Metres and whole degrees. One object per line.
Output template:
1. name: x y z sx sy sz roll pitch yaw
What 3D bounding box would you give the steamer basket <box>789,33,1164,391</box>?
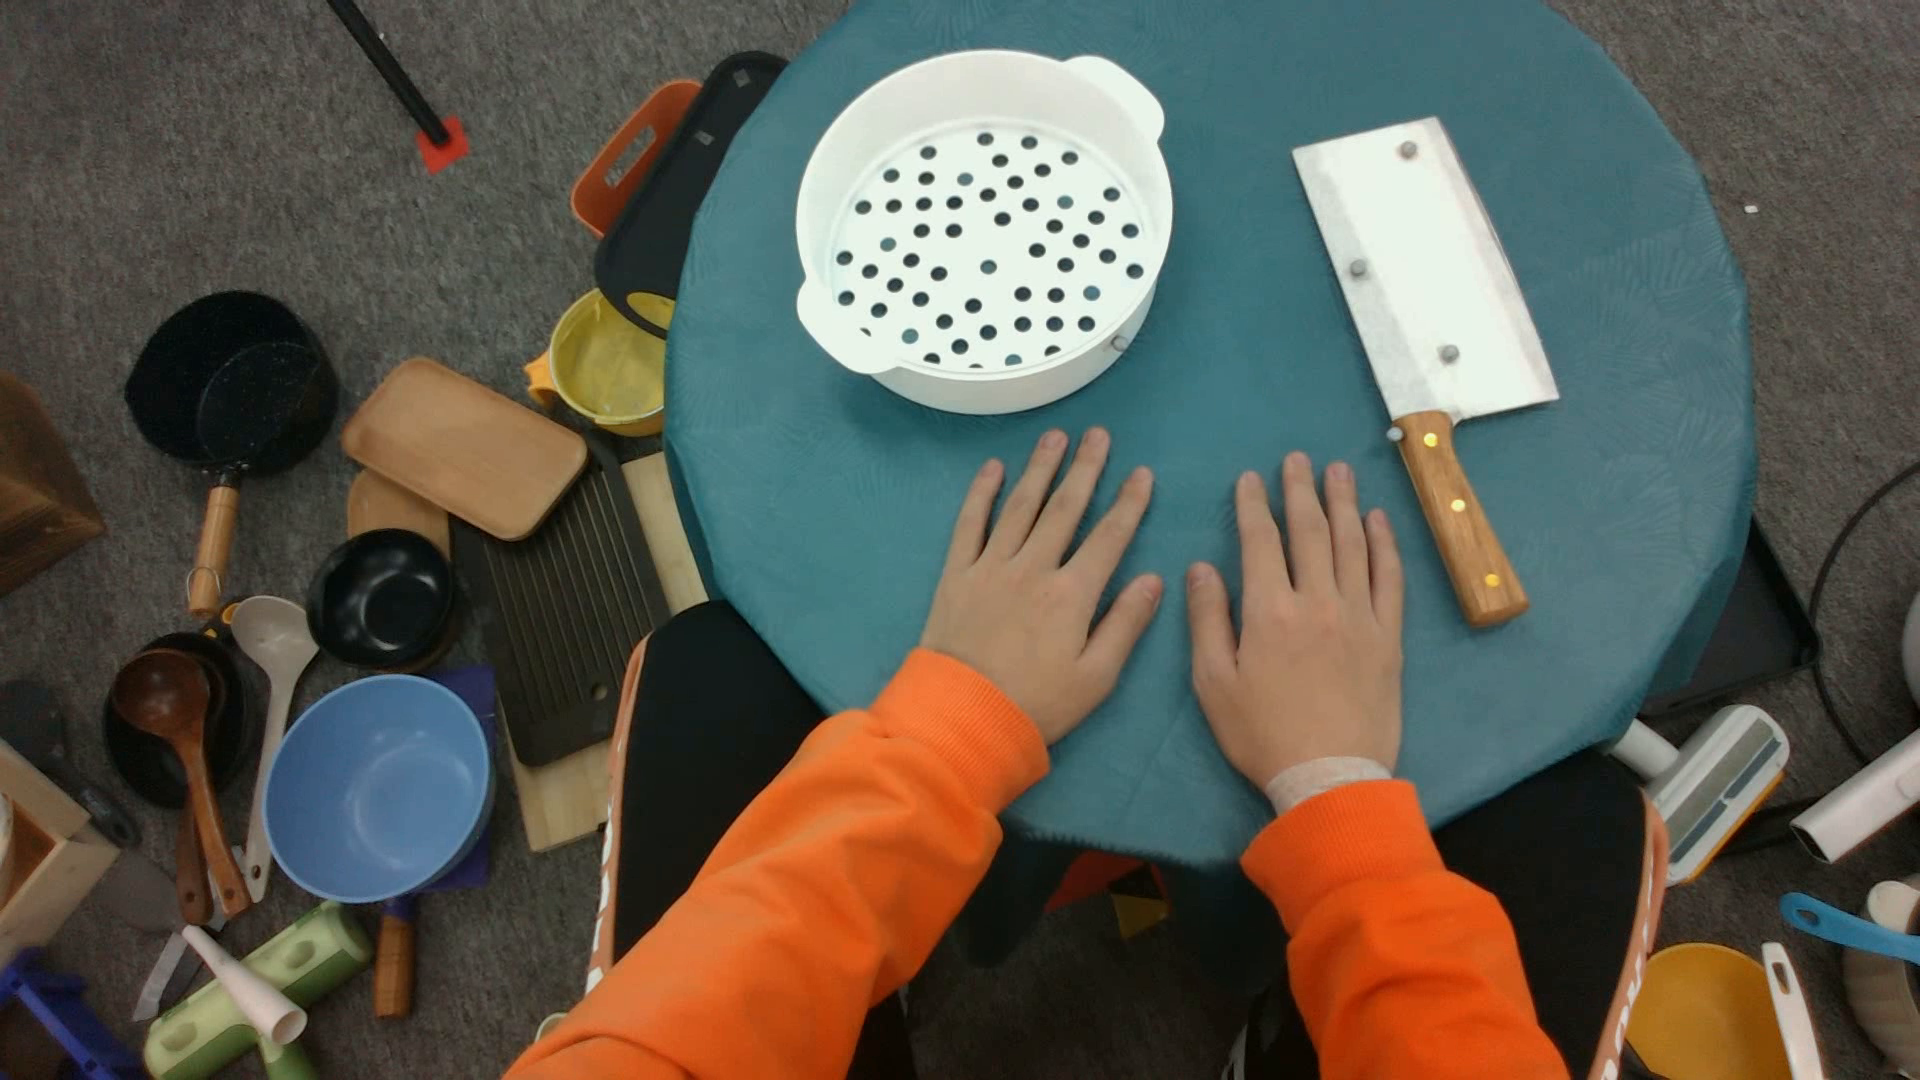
1. steamer basket: 0.010 -0.179 0.762 0.231 0.069 0.202 -42 74 -12

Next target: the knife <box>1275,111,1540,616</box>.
1. knife: 0.260 -0.109 0.751 0.093 0.021 0.306 -13 68 -2
